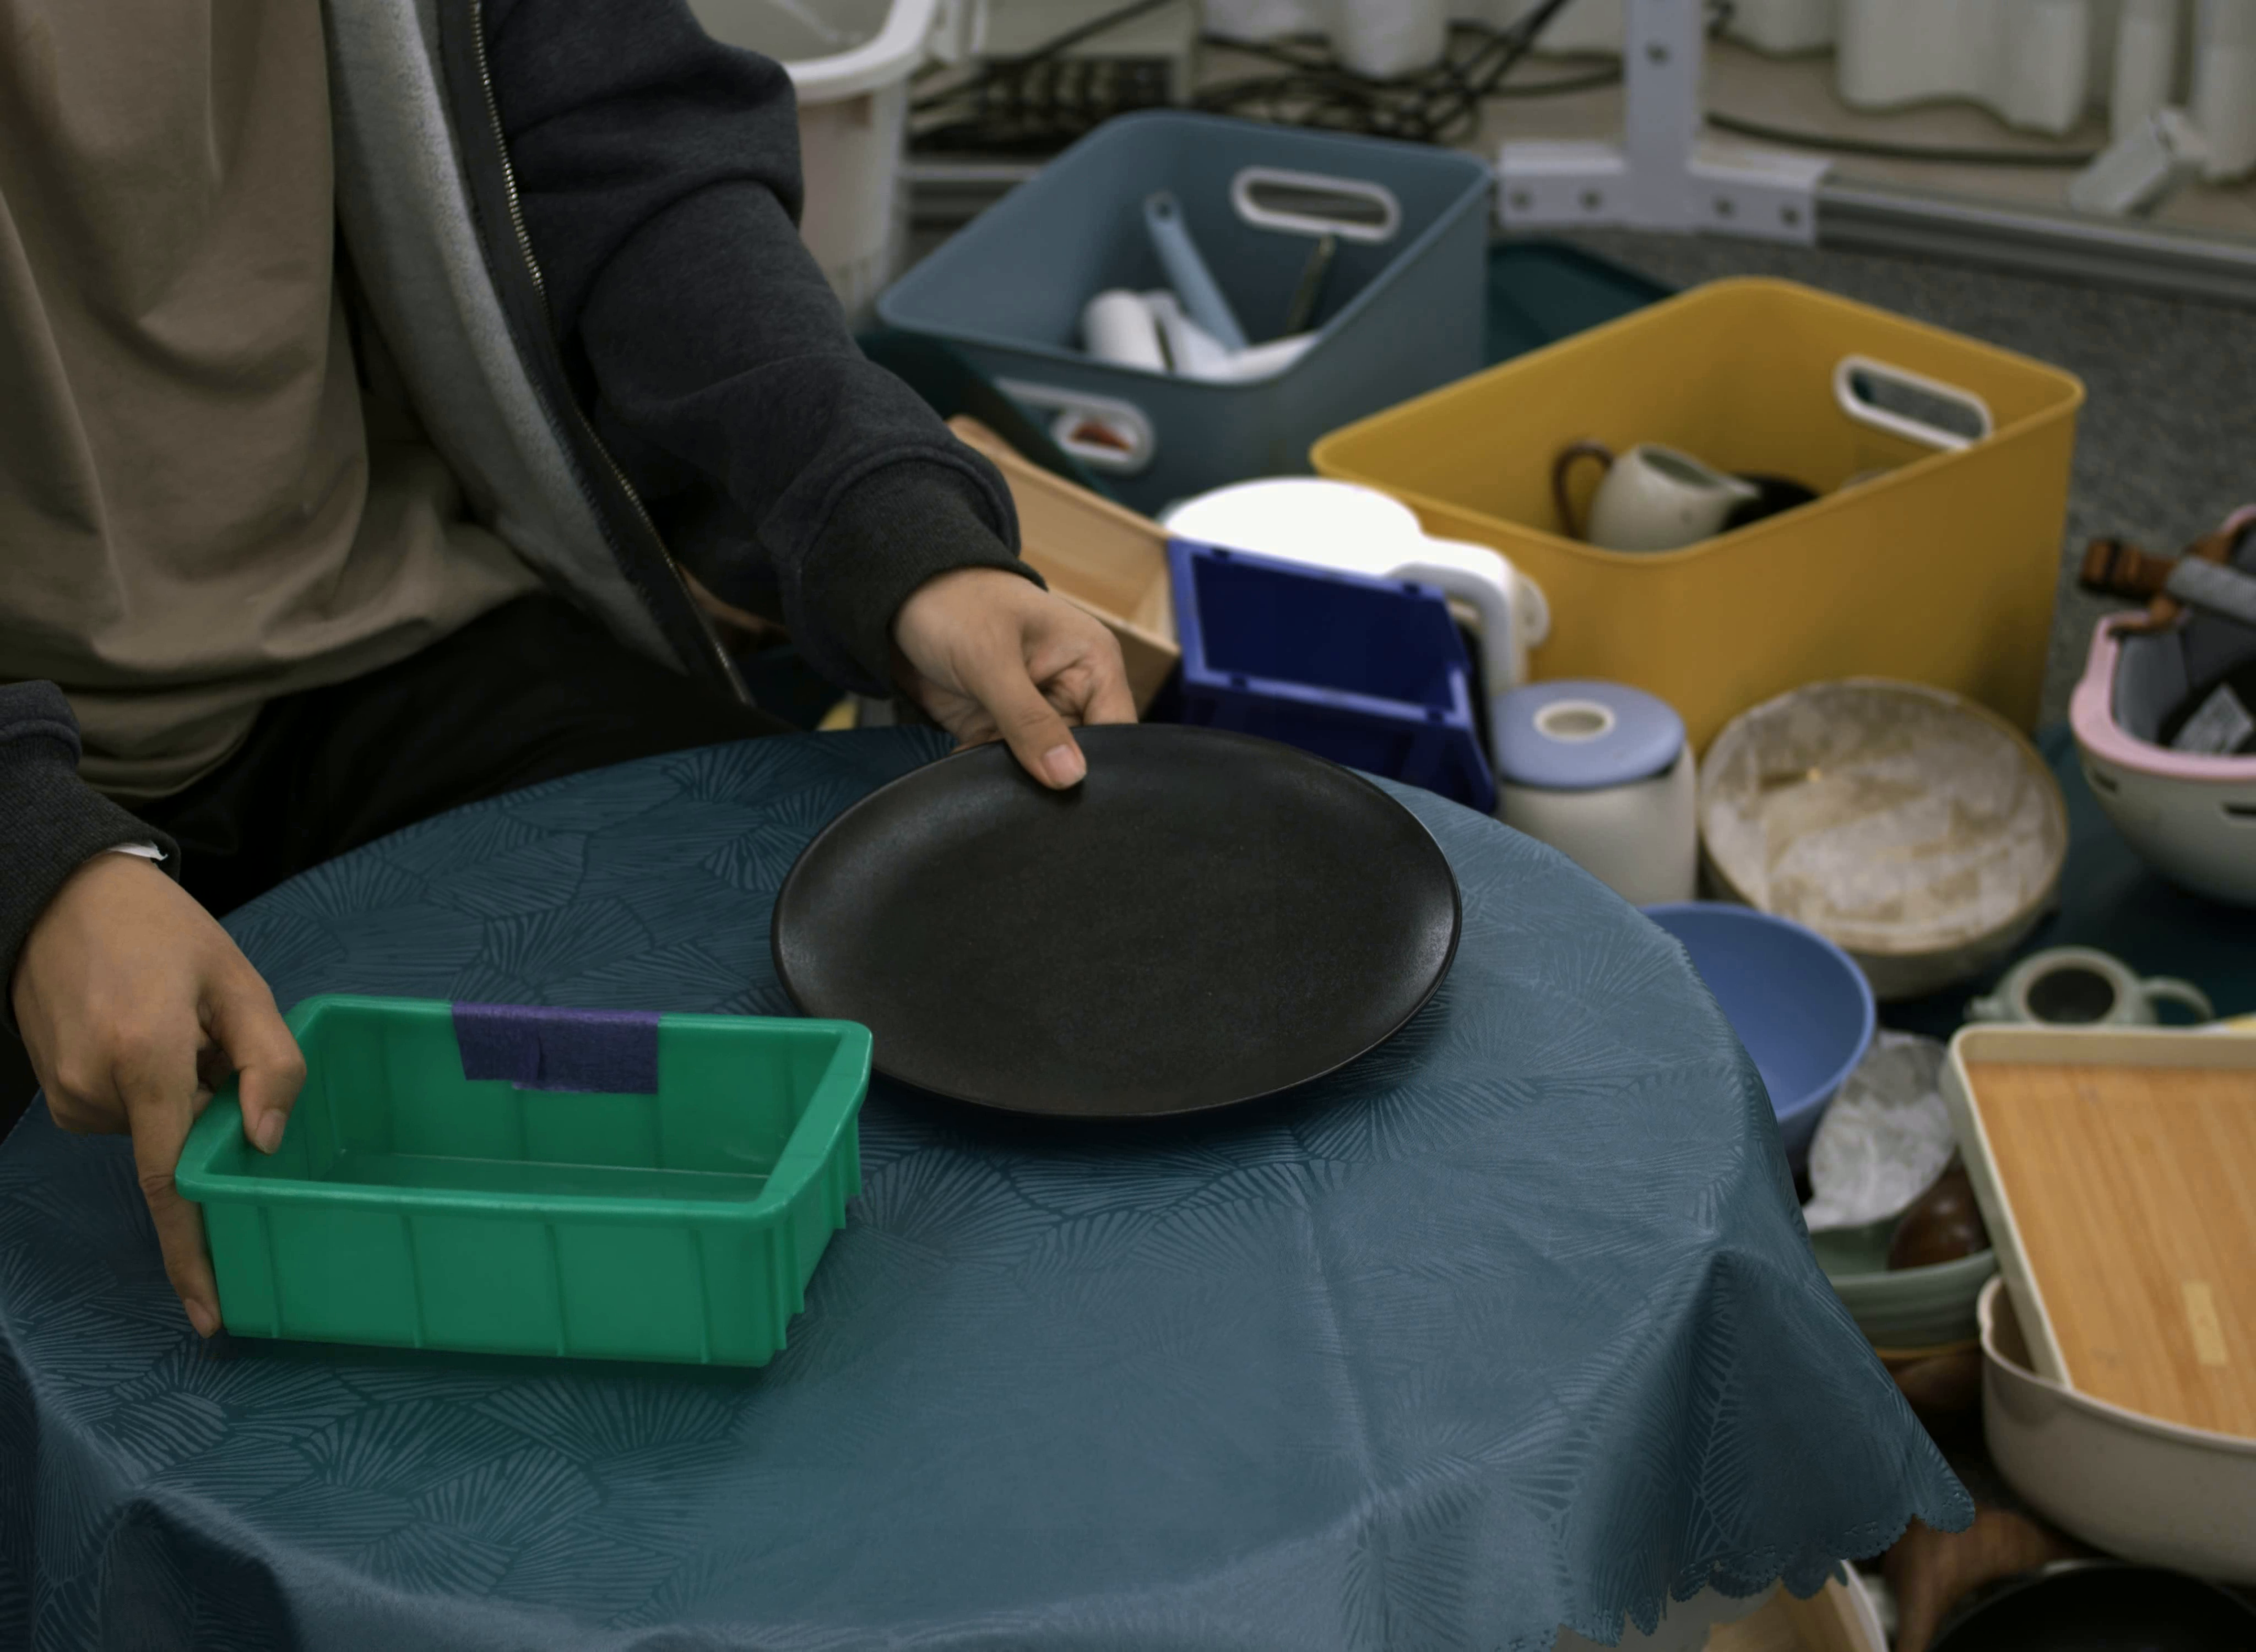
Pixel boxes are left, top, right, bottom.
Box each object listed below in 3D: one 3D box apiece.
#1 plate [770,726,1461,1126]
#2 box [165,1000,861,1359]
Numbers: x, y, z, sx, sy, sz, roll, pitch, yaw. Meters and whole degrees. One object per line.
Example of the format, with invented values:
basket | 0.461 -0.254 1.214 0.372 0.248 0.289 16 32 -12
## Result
plate | -0.004 0.039 1.978 0.243 0.023 0.249 -1 33 1
box | -0.194 0.115 1.813 0.209 0.065 0.140 0 22 10
